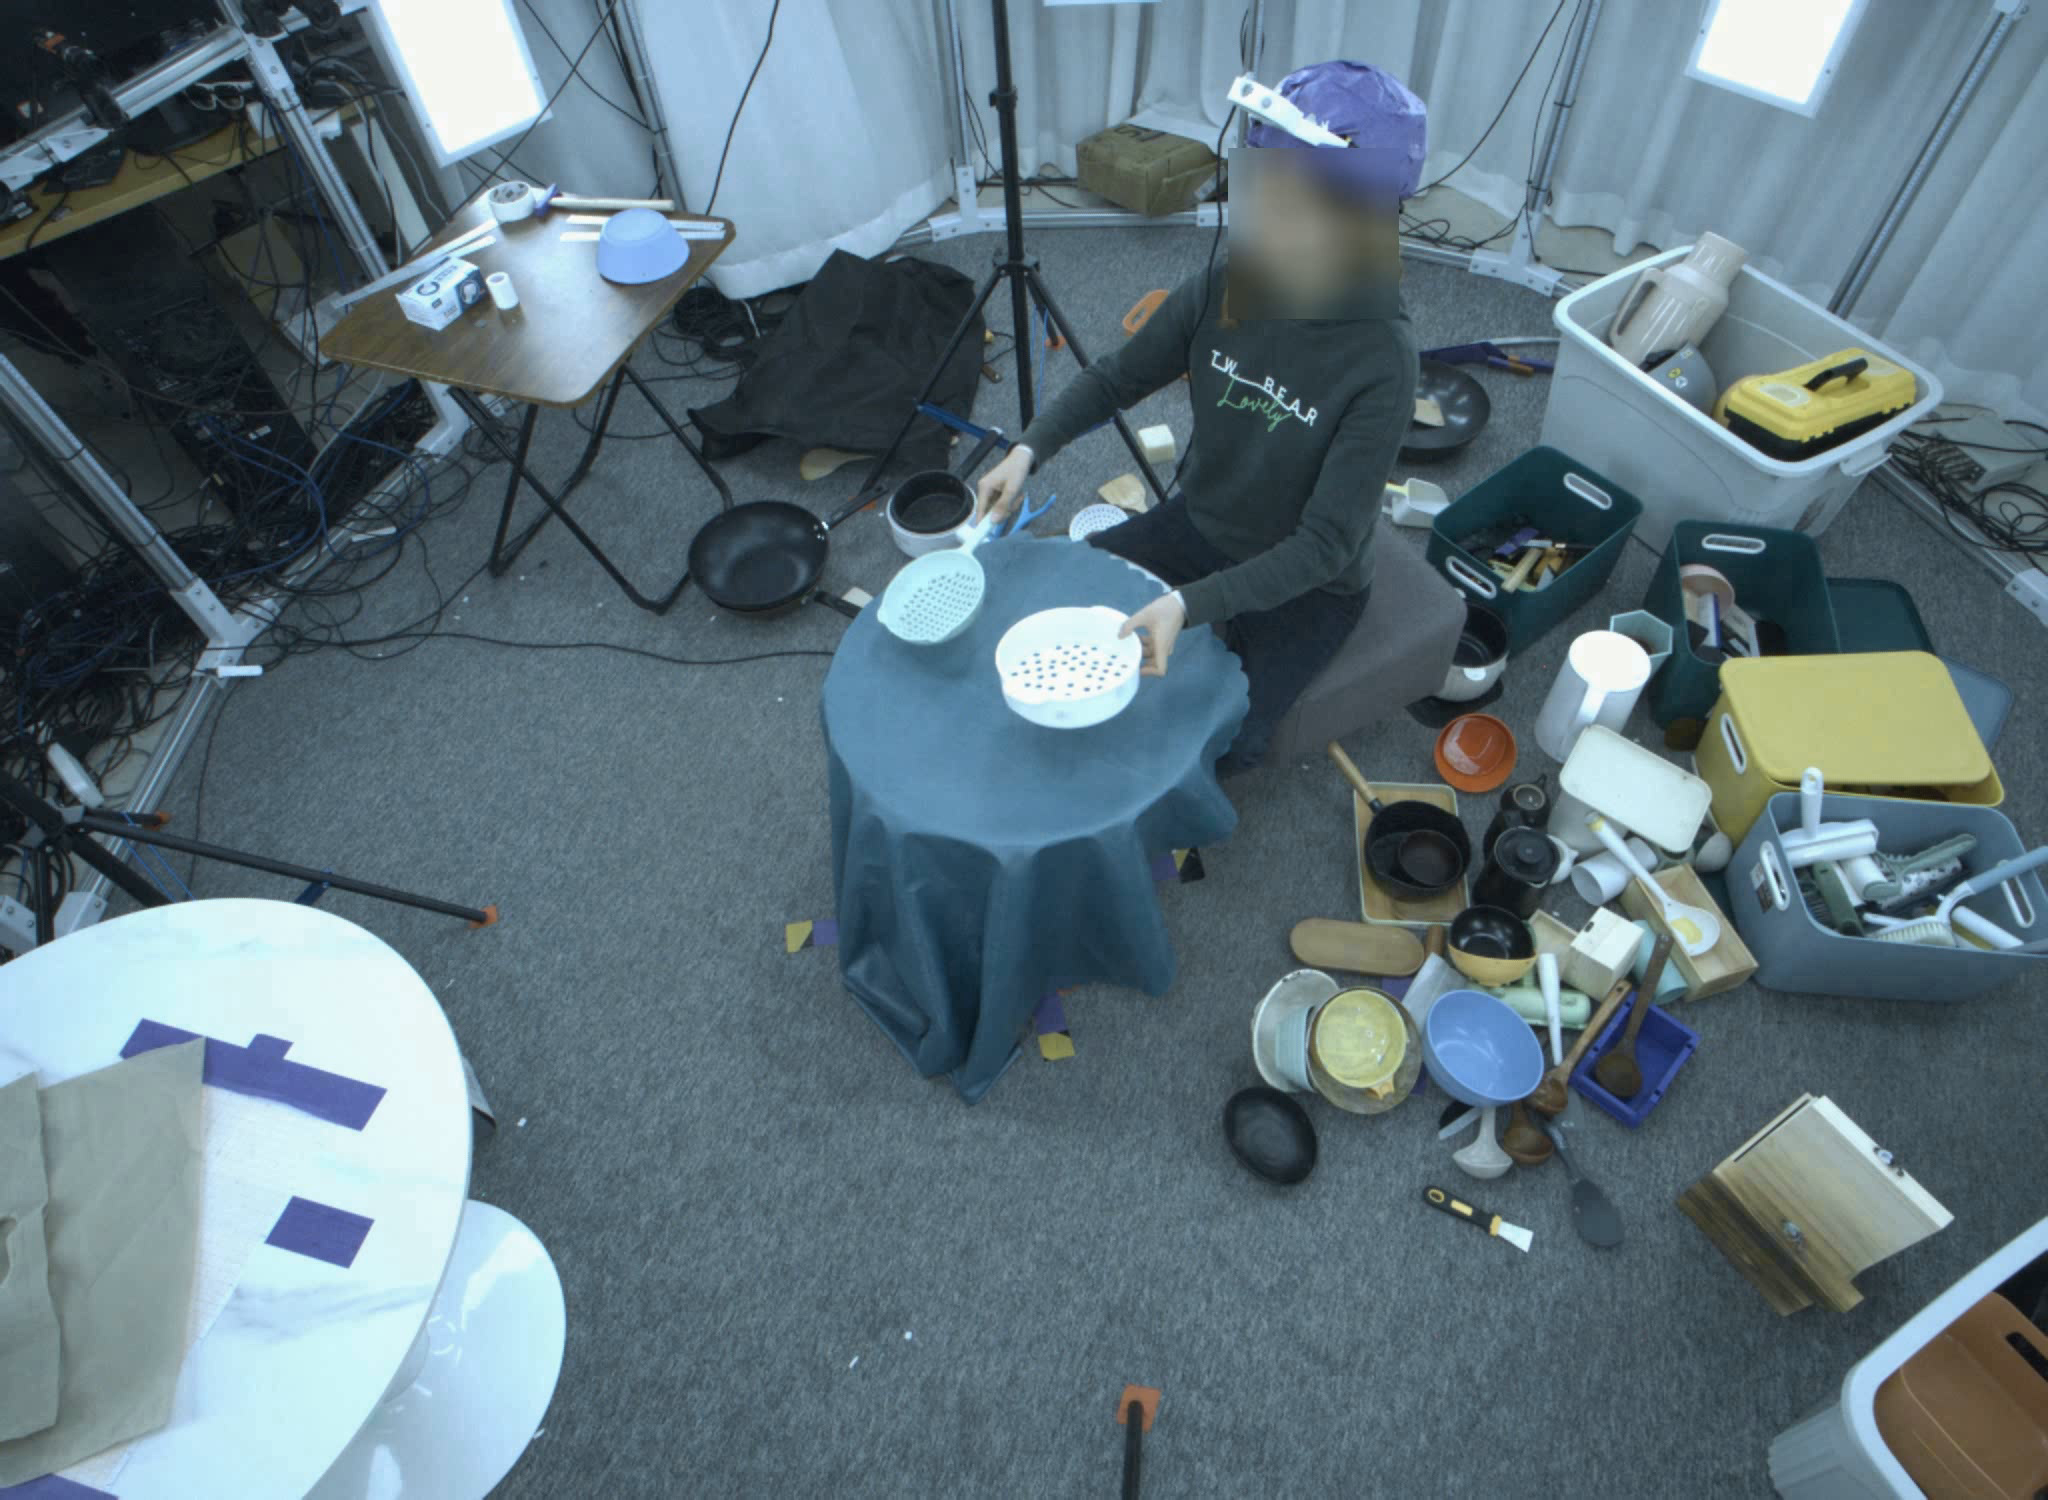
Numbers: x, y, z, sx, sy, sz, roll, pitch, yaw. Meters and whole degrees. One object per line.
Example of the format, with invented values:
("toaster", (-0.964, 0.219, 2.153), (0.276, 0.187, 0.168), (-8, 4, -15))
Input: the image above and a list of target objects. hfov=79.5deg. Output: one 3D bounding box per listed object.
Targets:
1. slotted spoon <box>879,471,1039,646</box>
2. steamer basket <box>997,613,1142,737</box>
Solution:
("slotted spoon", (-0.082, -0.308, 1.903), (0.166, 0.077, 0.359), (25, 80, 27))
("steamer basket", (0.064, -0.103, 1.719), (0.198, 0.070, 0.232), (26, 51, 26))
